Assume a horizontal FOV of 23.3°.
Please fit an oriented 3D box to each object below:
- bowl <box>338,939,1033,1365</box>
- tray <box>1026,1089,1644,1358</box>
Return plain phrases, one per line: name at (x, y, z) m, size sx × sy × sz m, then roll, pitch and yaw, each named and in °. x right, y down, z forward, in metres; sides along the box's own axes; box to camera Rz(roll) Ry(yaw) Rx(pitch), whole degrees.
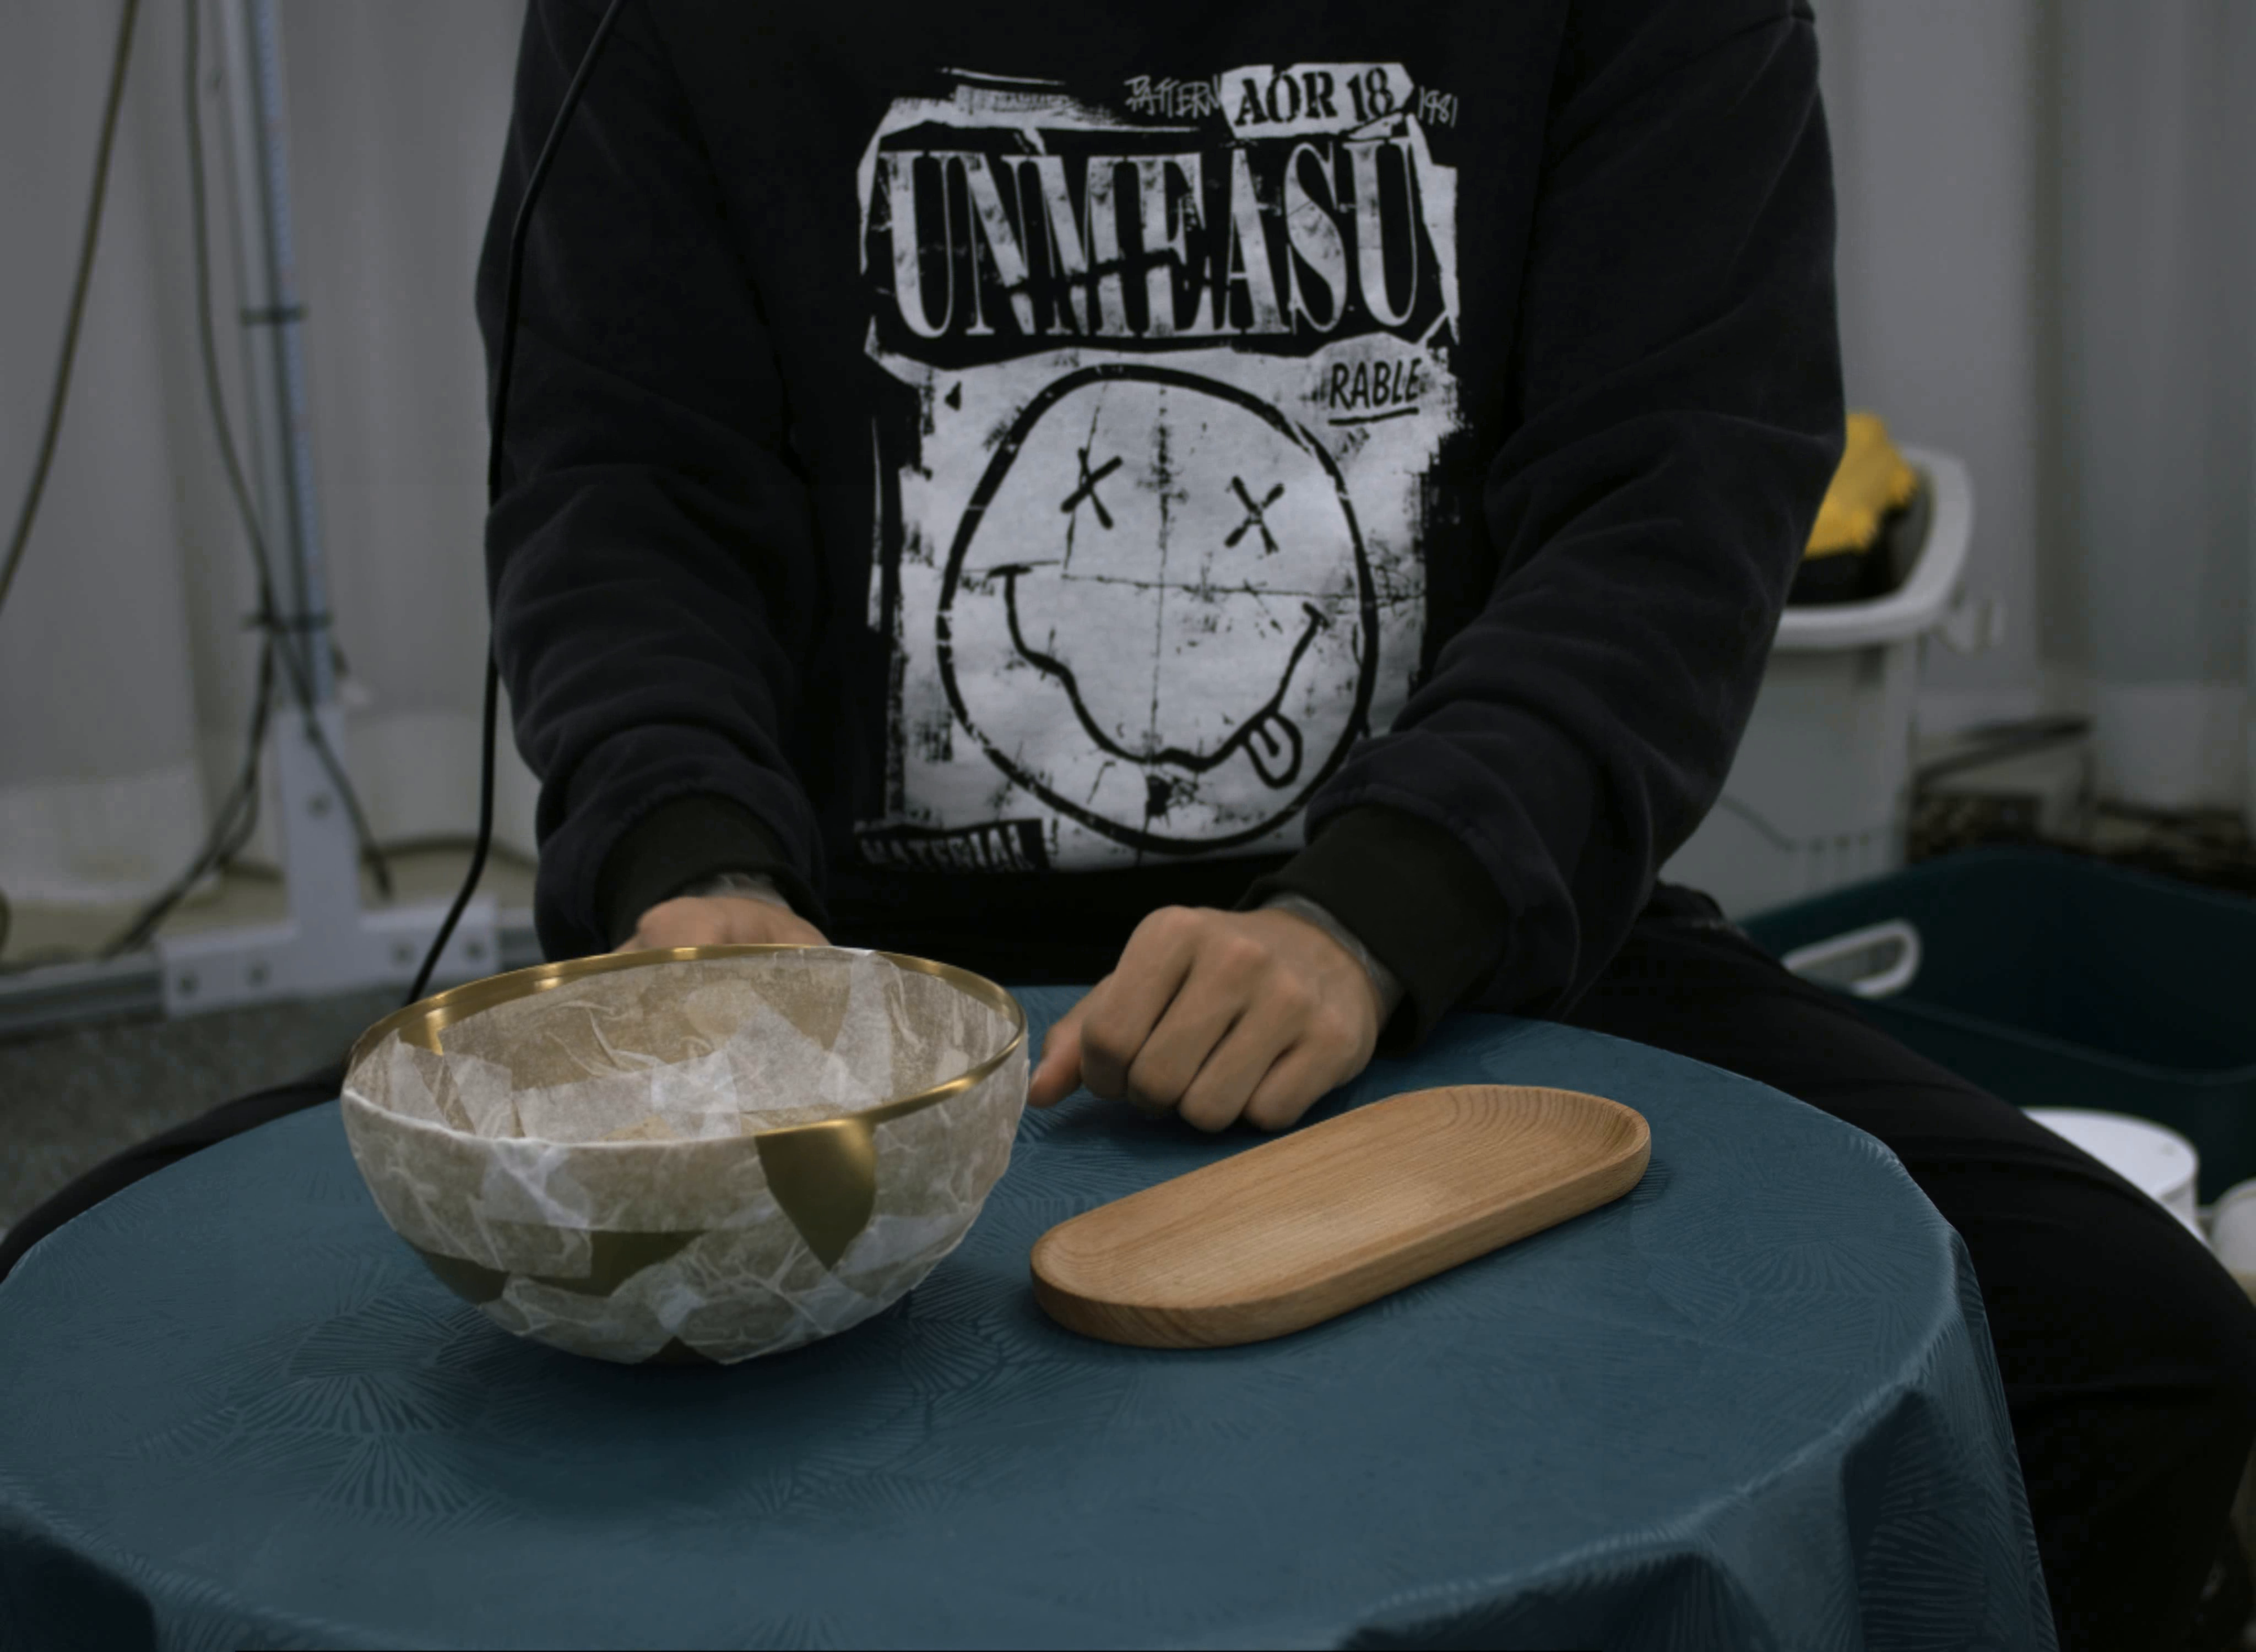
bowl at (-0.123, 0.103, 1.603) m, size 0.214 × 0.094 × 0.216 m, roll -3°, pitch 14°, yaw 1°
tray at (0.065, 0.119, 1.658) m, size 0.102 × 0.020 × 0.231 m, roll 8°, pitch 20°, yaw 43°
